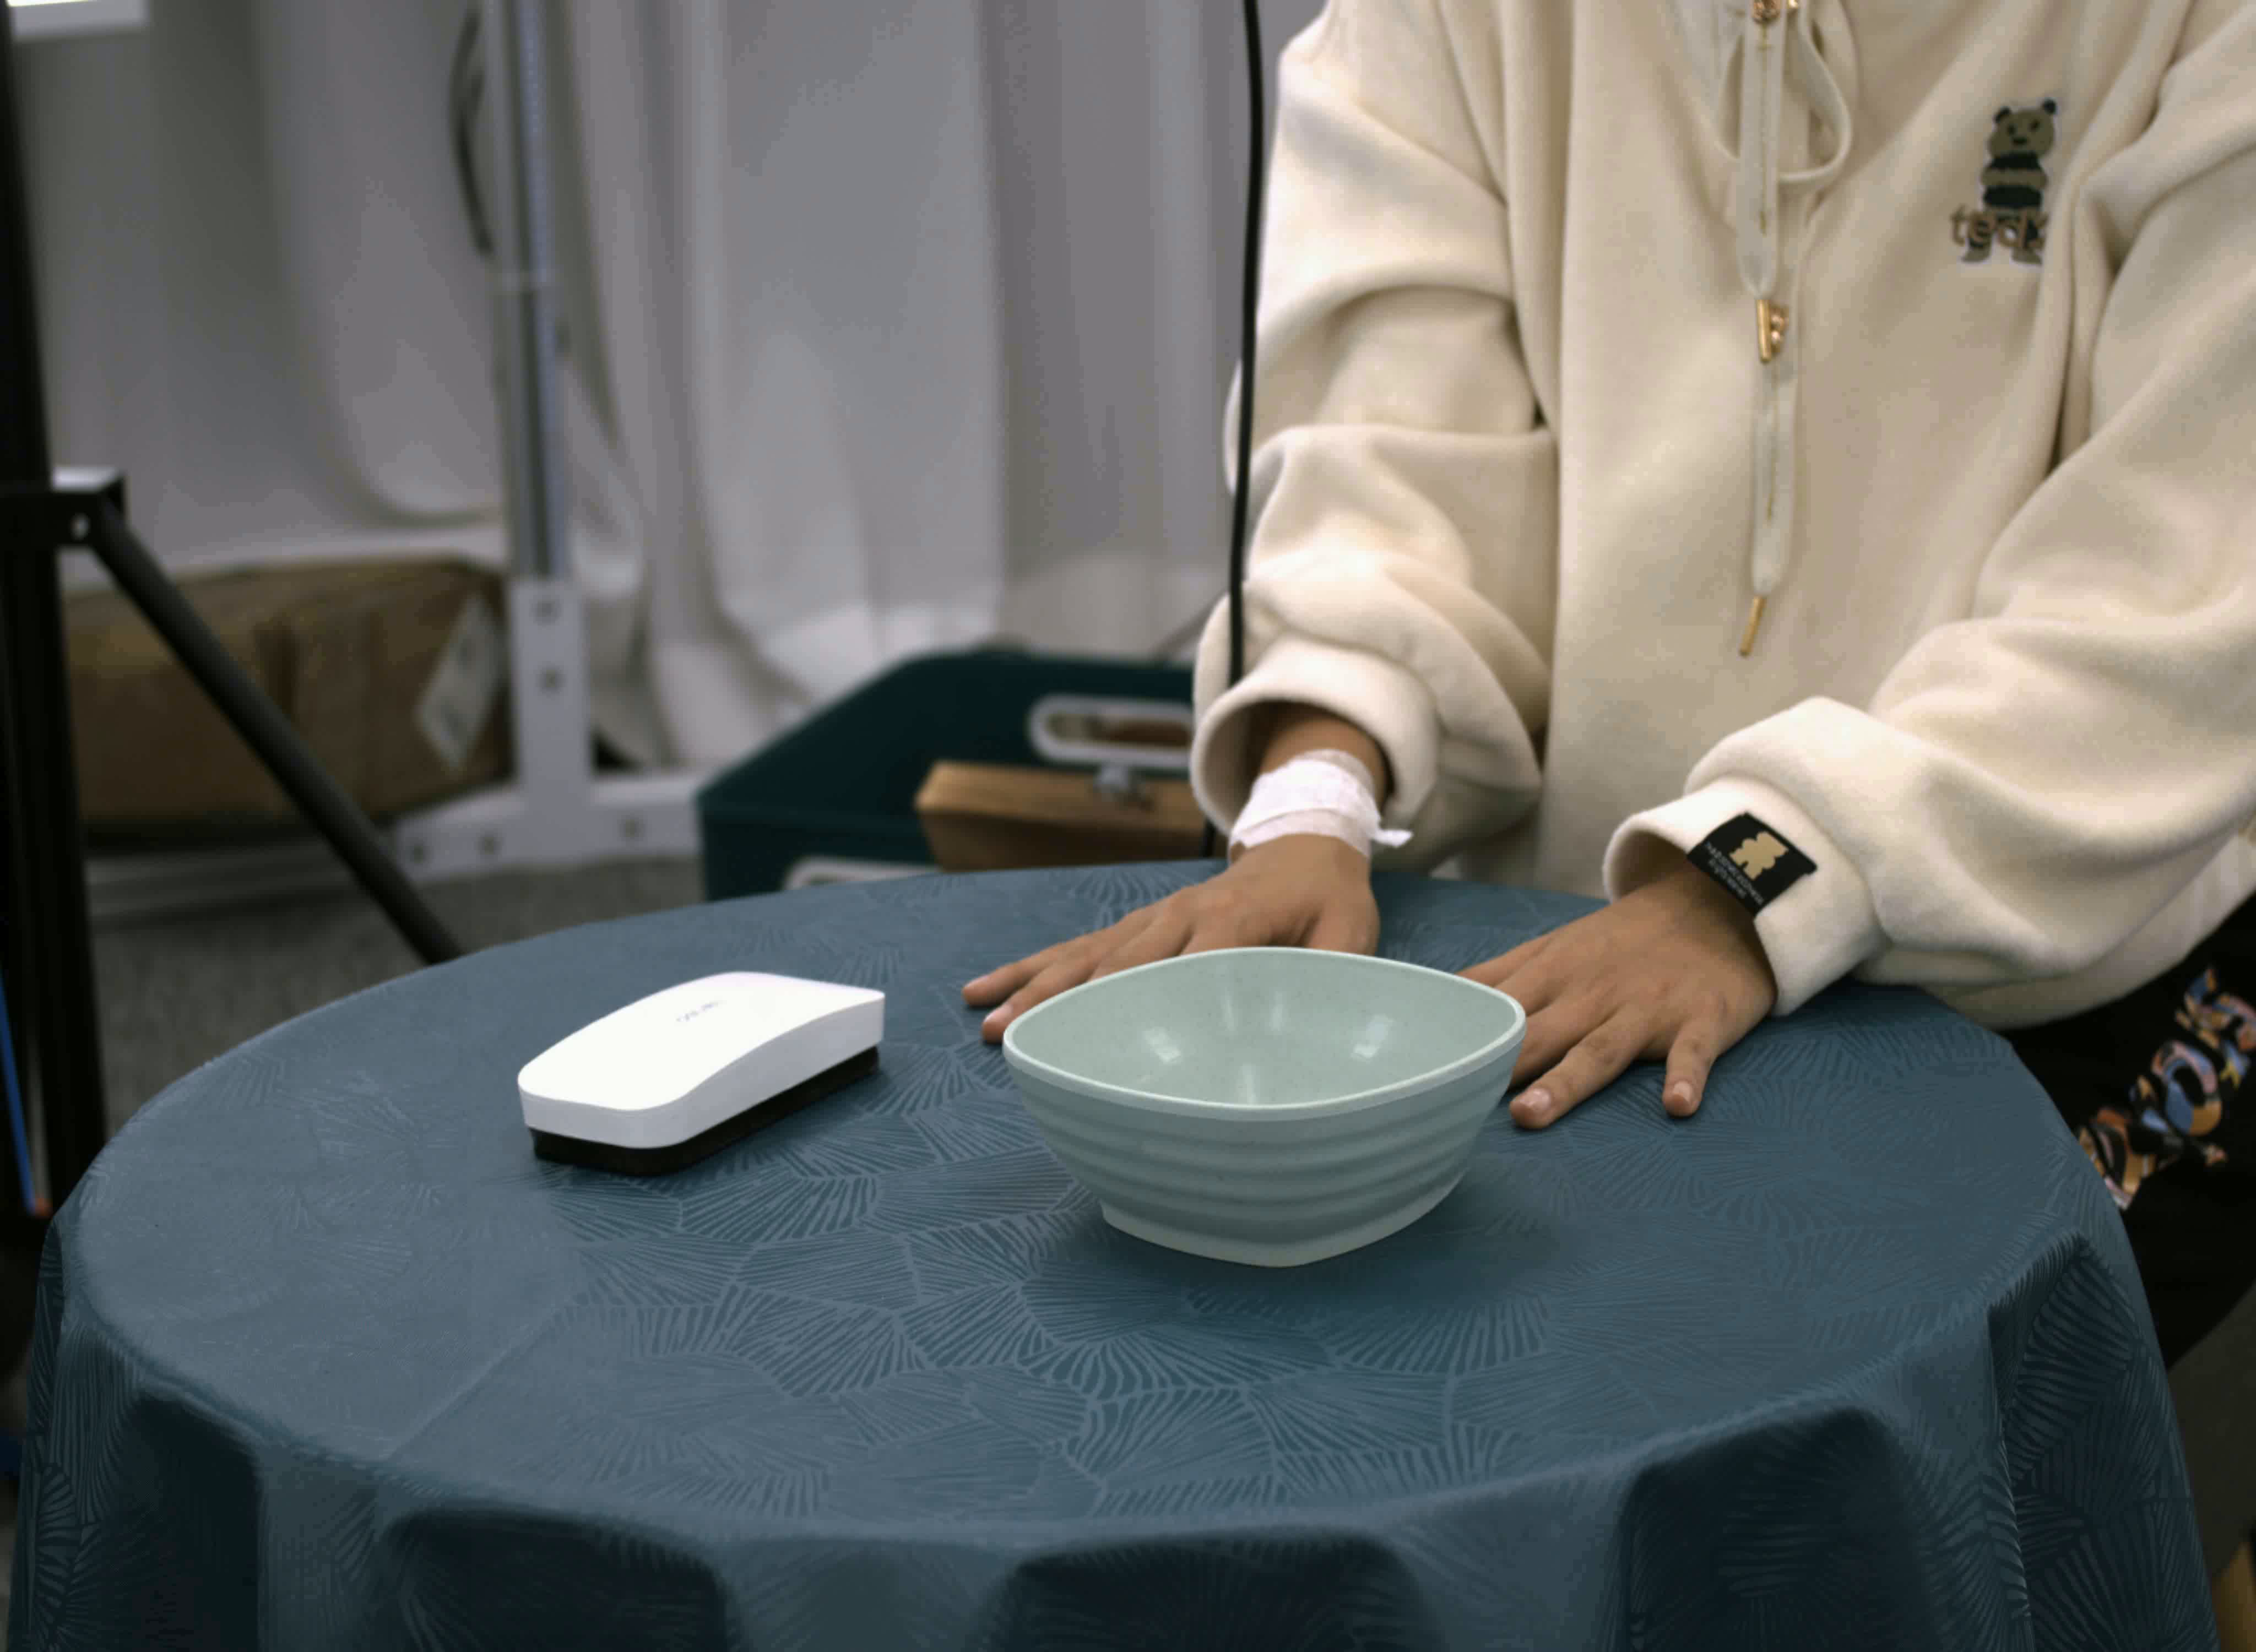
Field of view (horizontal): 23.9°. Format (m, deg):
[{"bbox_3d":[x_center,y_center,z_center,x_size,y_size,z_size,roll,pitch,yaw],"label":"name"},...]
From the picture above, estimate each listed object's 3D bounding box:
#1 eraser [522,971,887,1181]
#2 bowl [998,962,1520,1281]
[{"bbox_3d":[-0.128,0.073,1.646,0.064,0.034,0.129,7,19,32],"label":"eraser"},{"bbox_3d":[0.038,0.088,1.531,0.150,0.059,0.152,0,15,-1],"label":"bowl"}]
